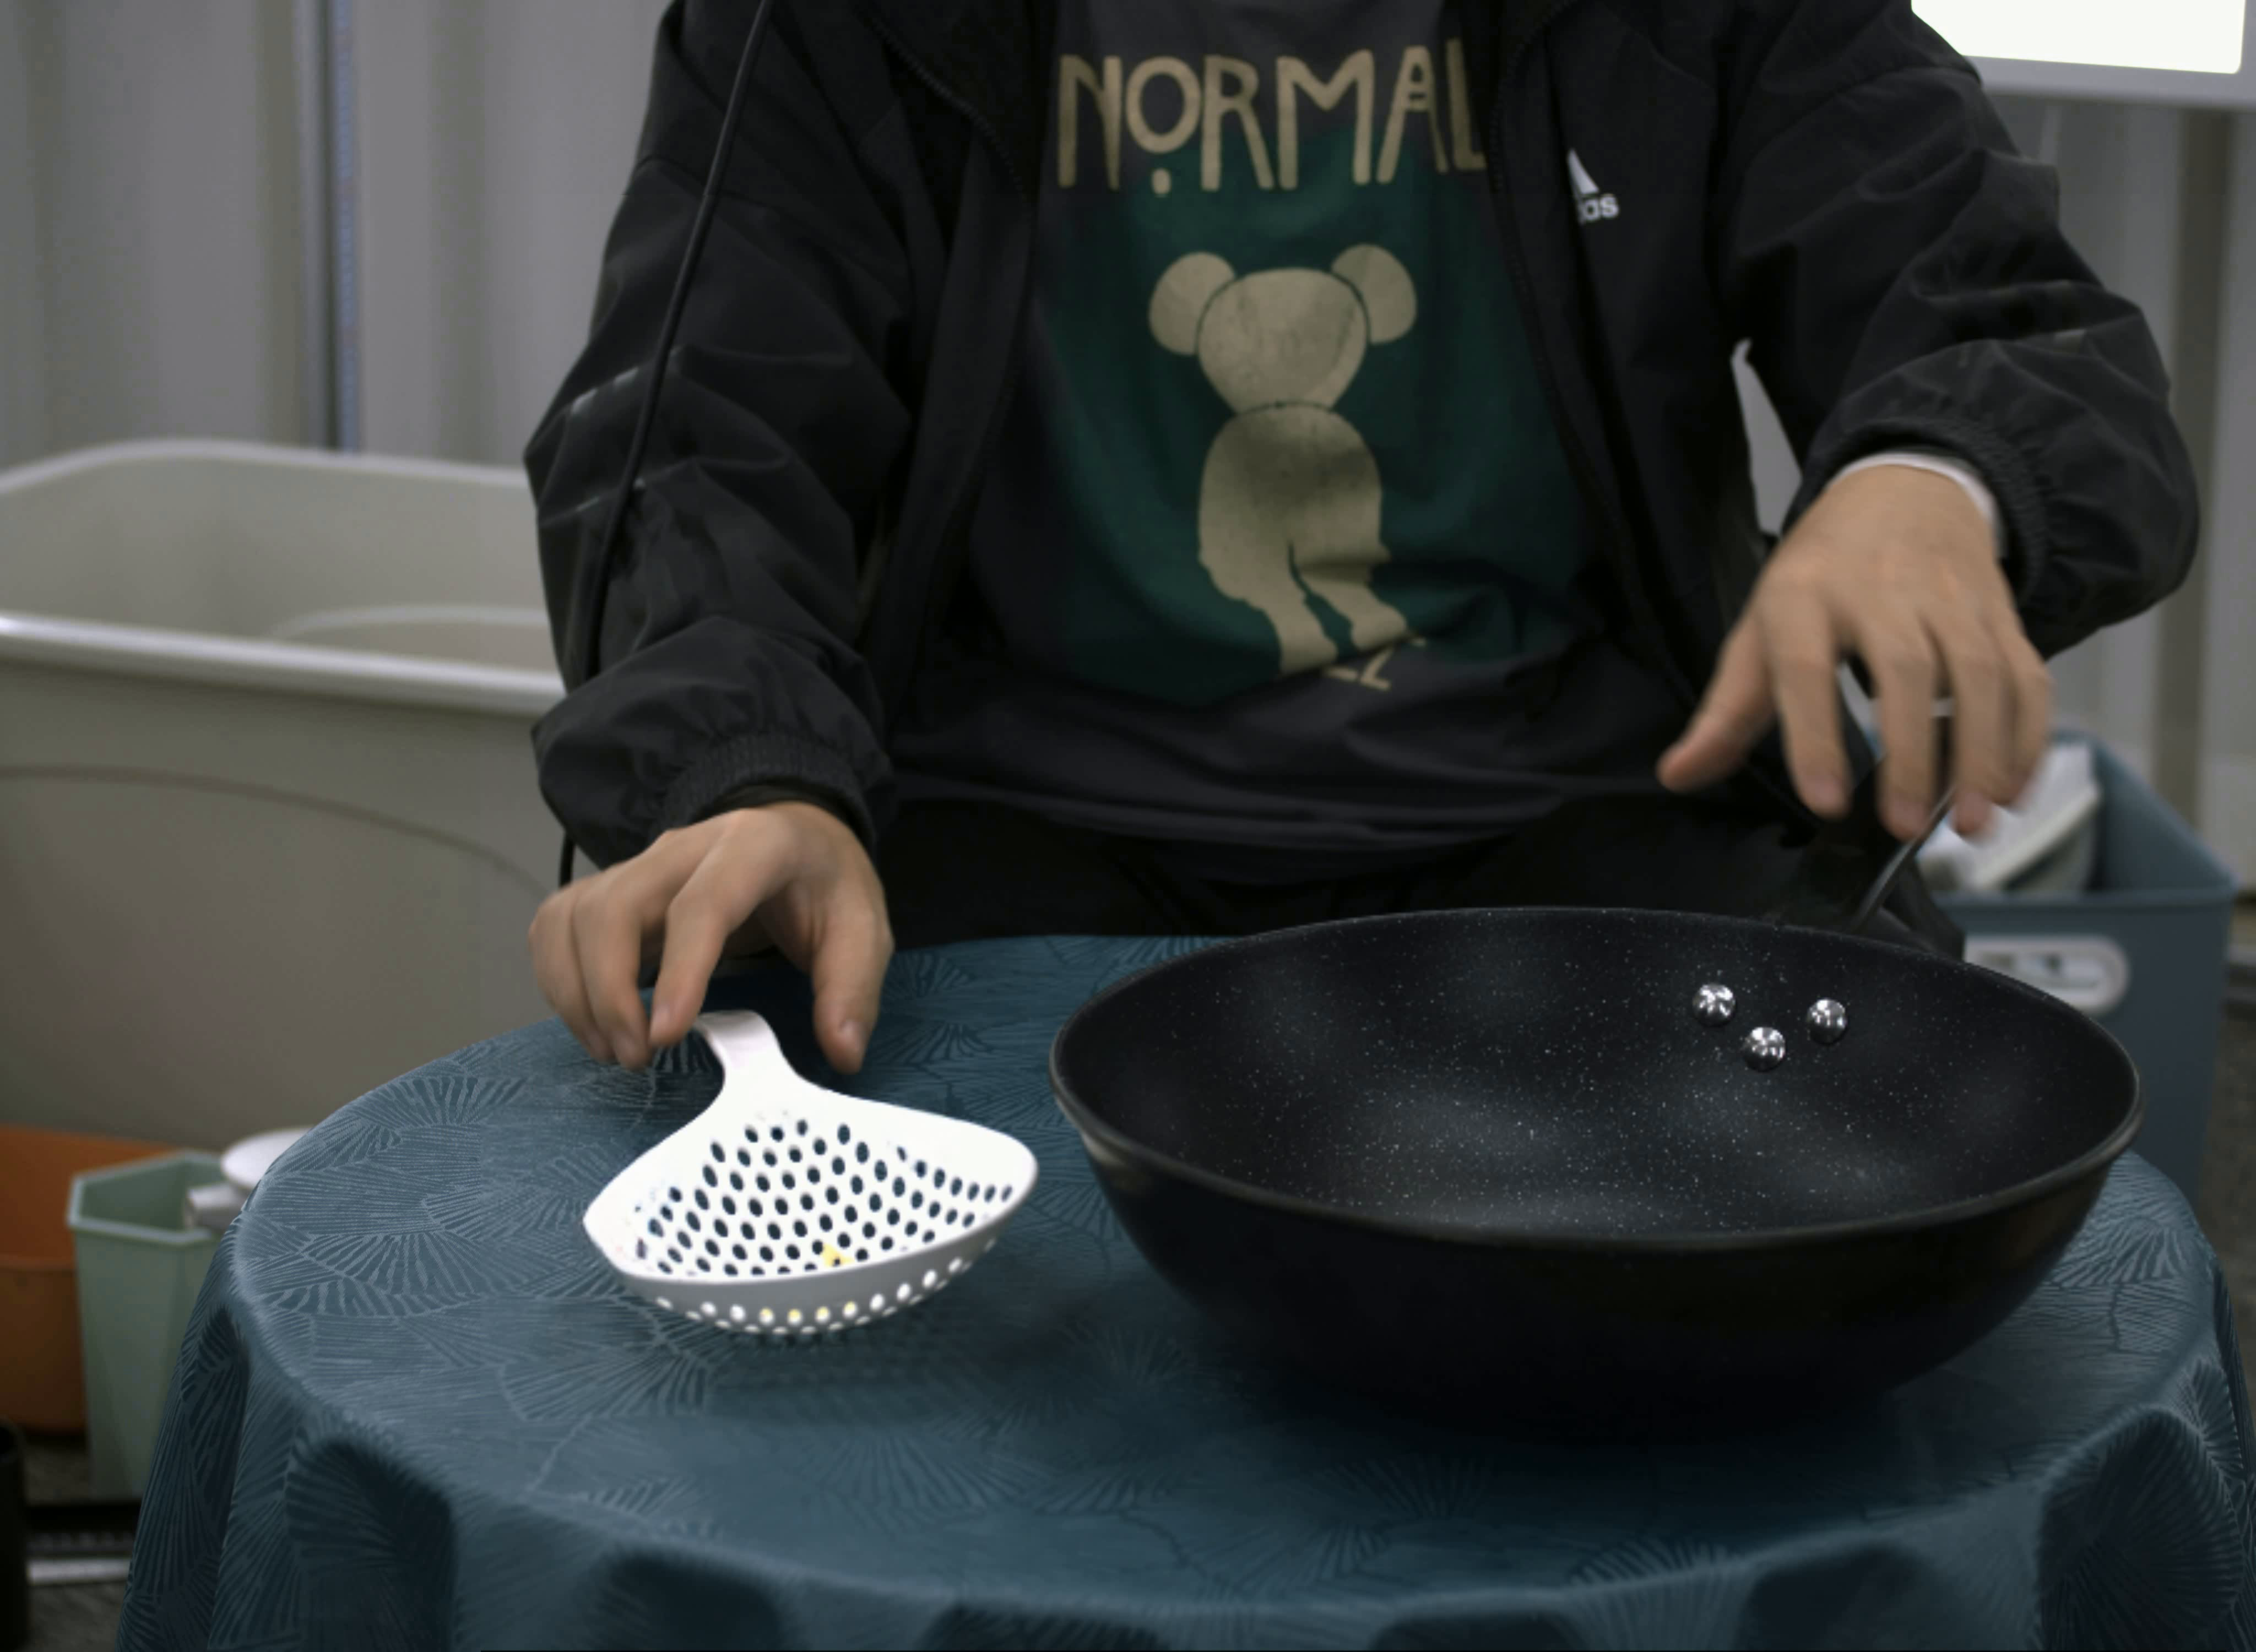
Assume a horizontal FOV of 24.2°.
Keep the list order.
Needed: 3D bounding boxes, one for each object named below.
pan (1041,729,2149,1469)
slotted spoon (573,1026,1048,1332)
[{"bbox_3d":[0.167,0.078,1.557,0.307,0.112,0.478,10,18,25],"label":"pan"},{"bbox_3d":[-0.109,0.093,1.610,0.137,0.051,0.345,-9,17,-9],"label":"slotted spoon"}]
